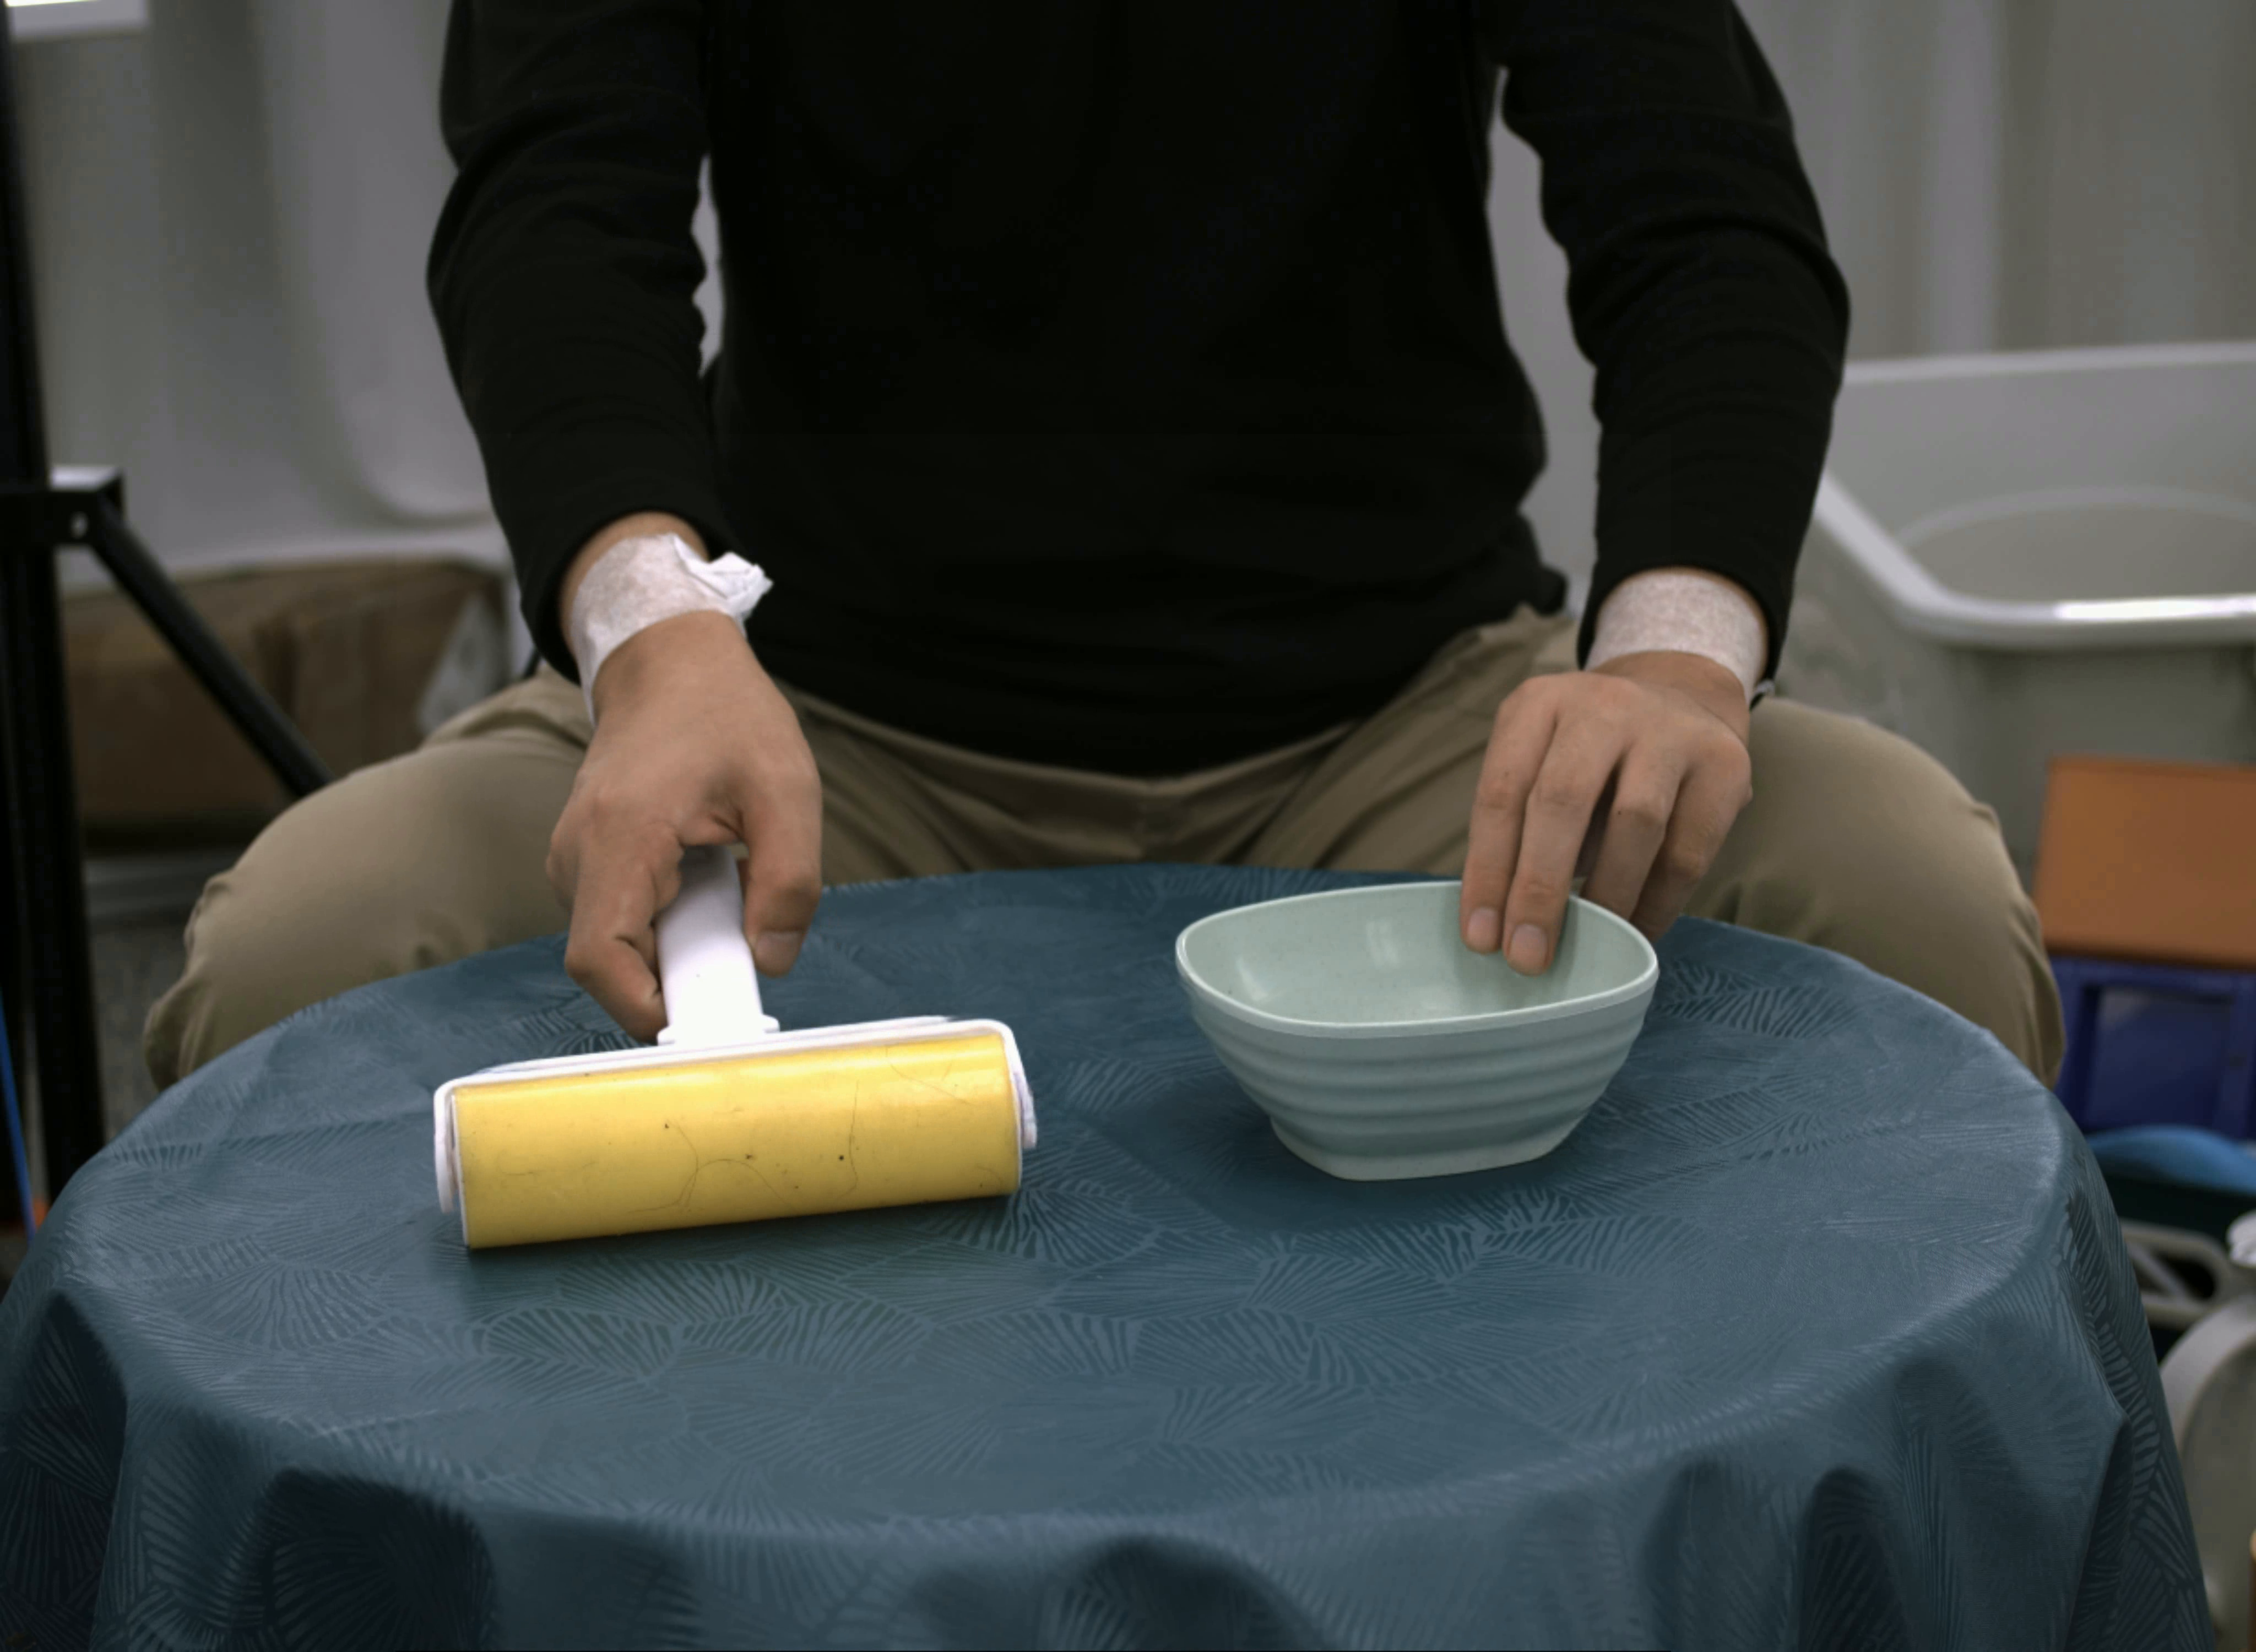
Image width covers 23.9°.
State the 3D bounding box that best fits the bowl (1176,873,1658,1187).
[{"bbox_3d":[0.087,0.065,1.591,0.151,0.058,0.152,-3,18,0],"label":"bowl"}]

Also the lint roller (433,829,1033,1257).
[{"bbox_3d":[-0.127,0.049,1.600,0.172,0.051,0.195,-7,40,-7],"label":"lint roller"}]
